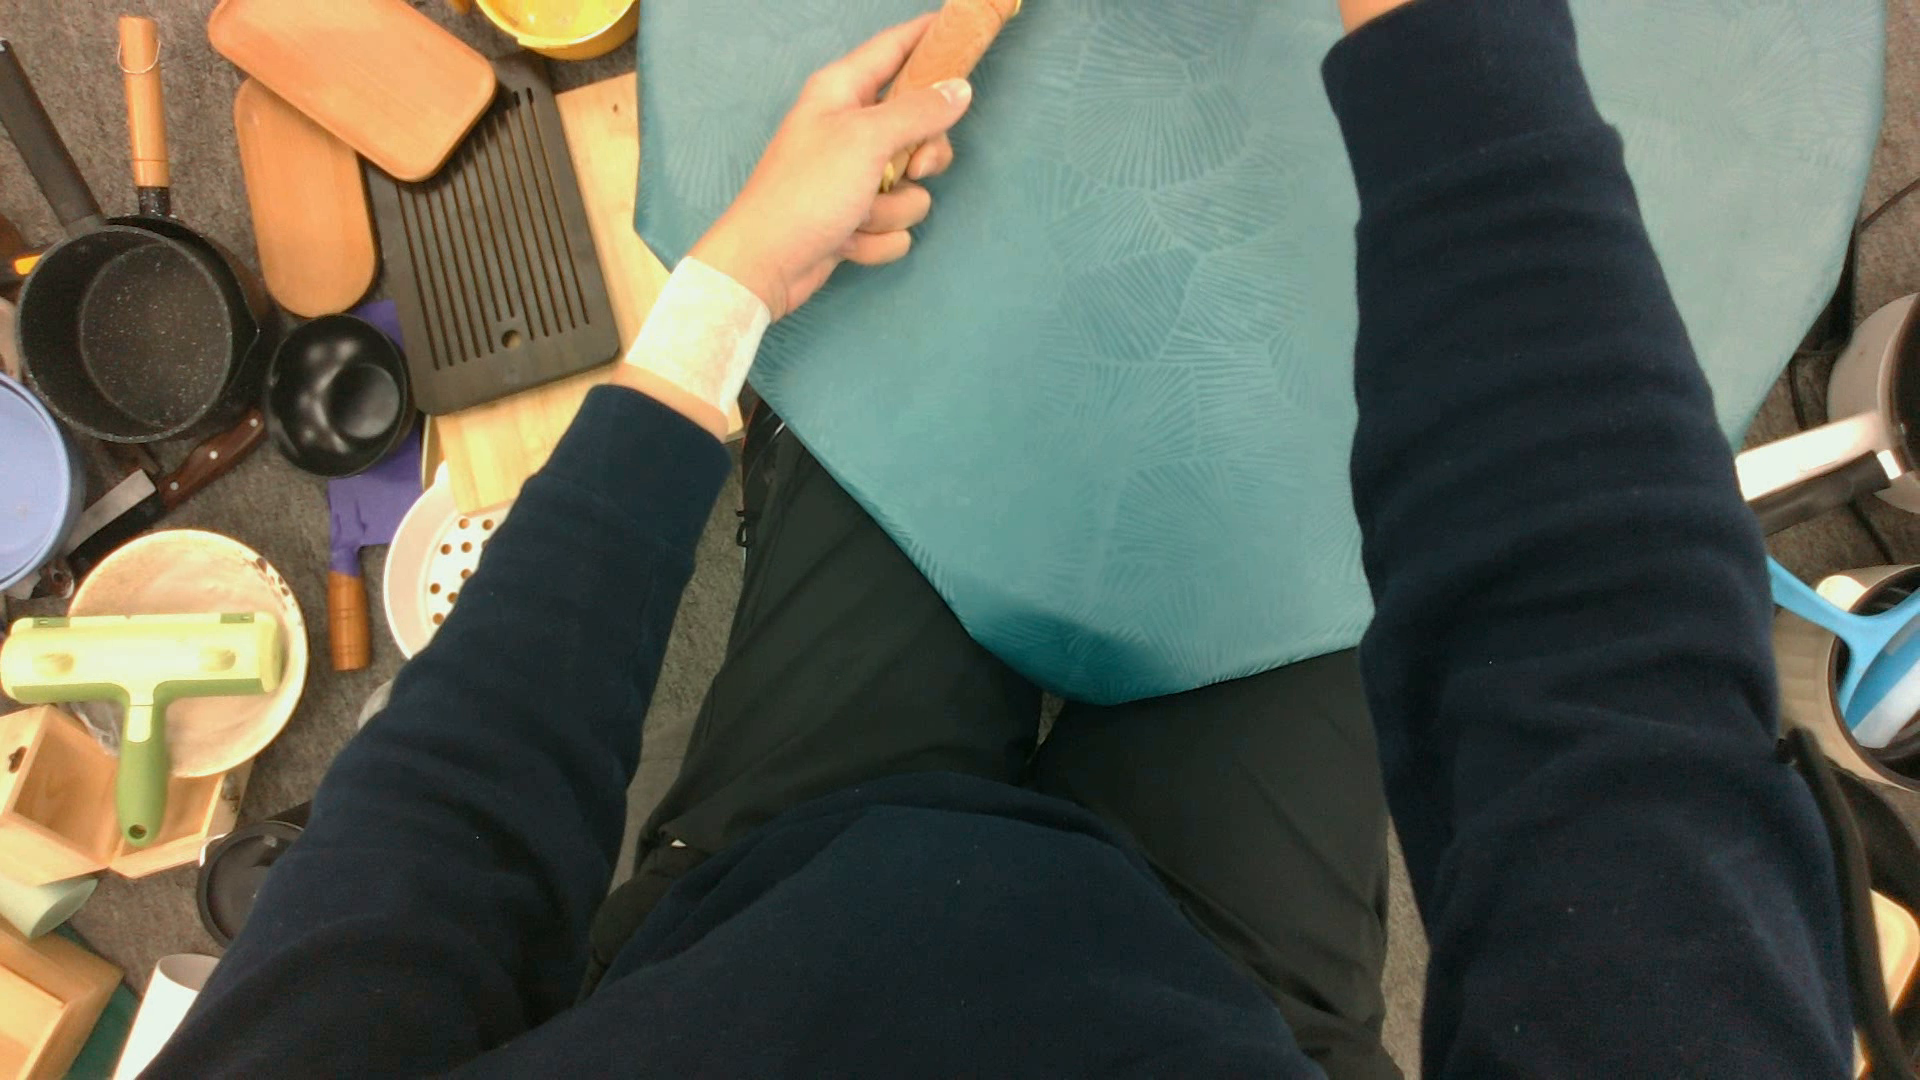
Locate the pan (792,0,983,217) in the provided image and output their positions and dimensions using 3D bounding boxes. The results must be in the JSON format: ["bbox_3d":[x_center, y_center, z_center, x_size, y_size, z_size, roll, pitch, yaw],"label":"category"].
[{"bbox_3d":[0.015,-0.286,0.636,0.169,0.049,0.324,33,87,-1],"label":"pan"}]
